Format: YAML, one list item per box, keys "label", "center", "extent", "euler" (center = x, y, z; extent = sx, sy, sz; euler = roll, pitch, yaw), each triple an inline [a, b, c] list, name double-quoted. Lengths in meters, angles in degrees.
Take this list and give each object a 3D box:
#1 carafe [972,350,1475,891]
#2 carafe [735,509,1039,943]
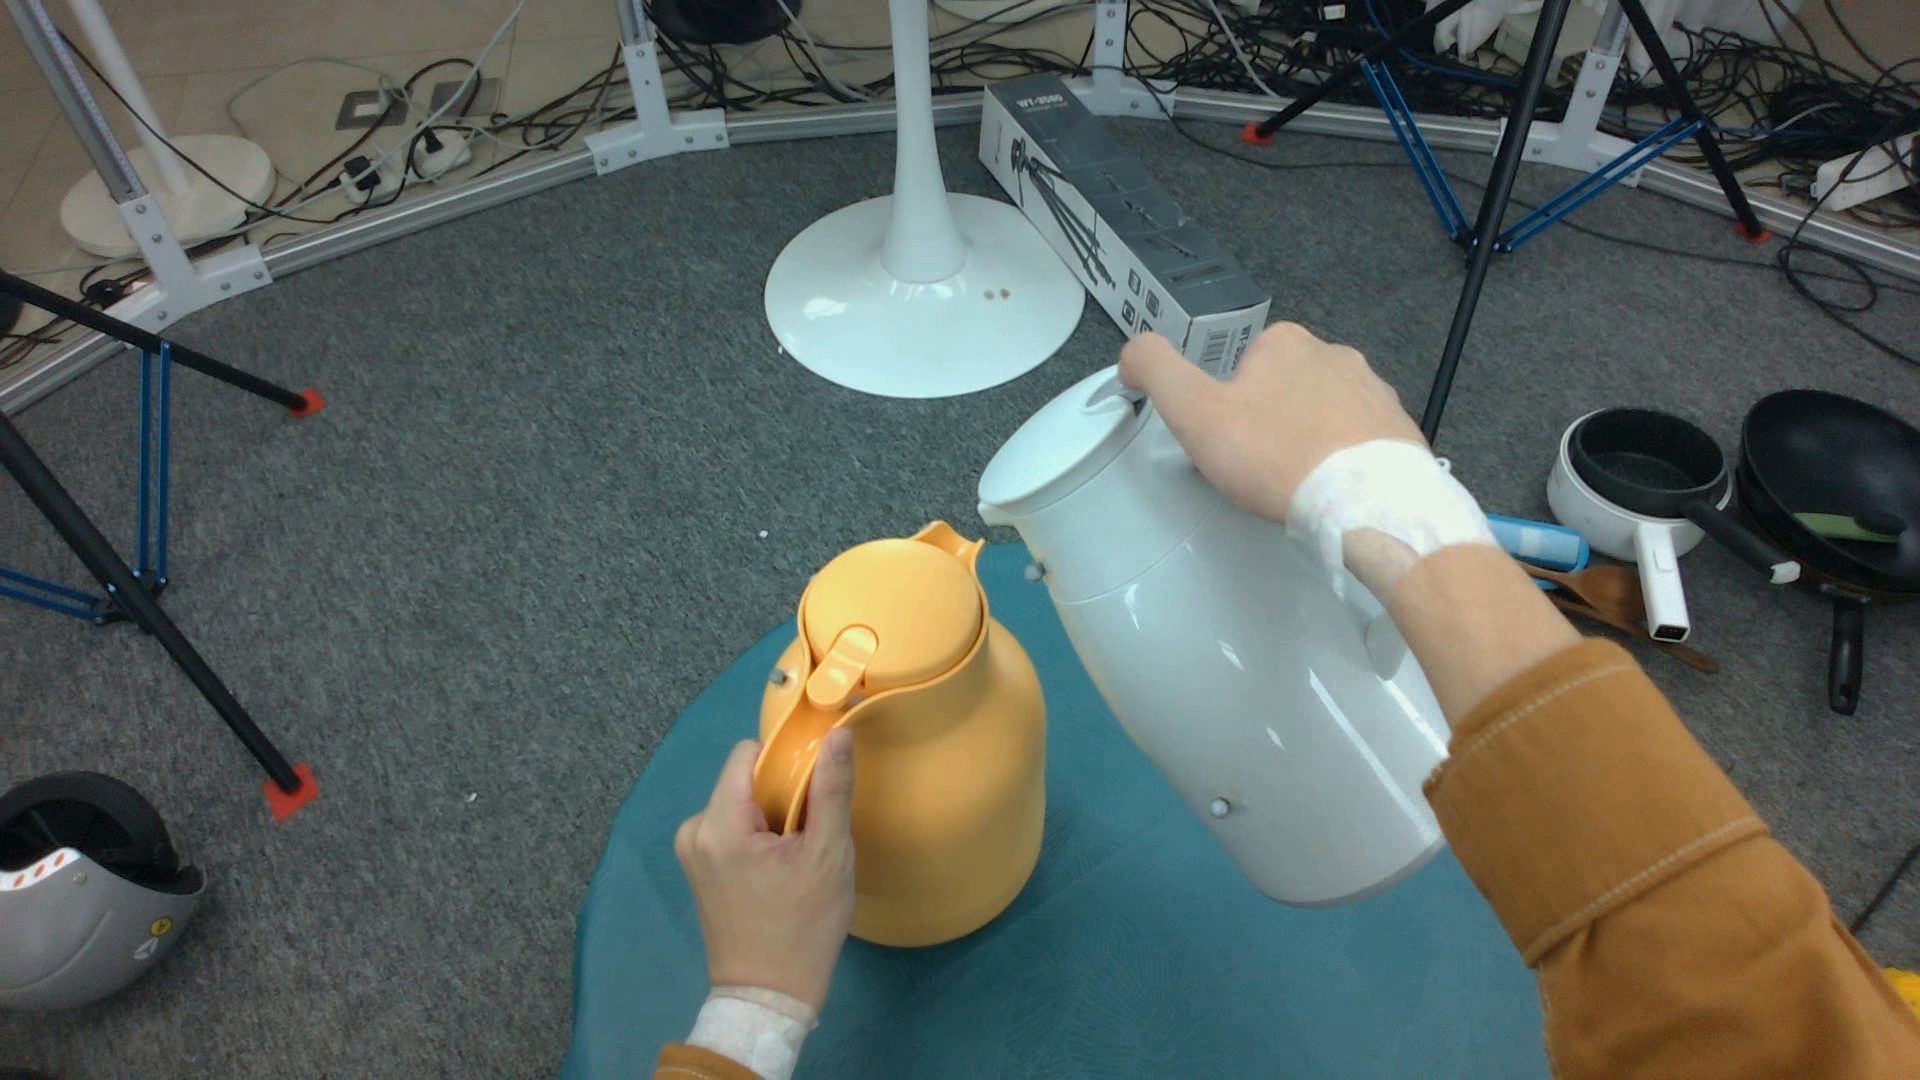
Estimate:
- label: "carafe"
  center: [0.127, 0.024, 0.620]
  extent: [0.167, 0.248, 0.133]
  euler: [-23, 26, 42]
- label: "carafe"
  center: [-0.048, 0.118, 0.767]
  extent: [0.163, 0.259, 0.203]
  euler: [25, 53, 22]
